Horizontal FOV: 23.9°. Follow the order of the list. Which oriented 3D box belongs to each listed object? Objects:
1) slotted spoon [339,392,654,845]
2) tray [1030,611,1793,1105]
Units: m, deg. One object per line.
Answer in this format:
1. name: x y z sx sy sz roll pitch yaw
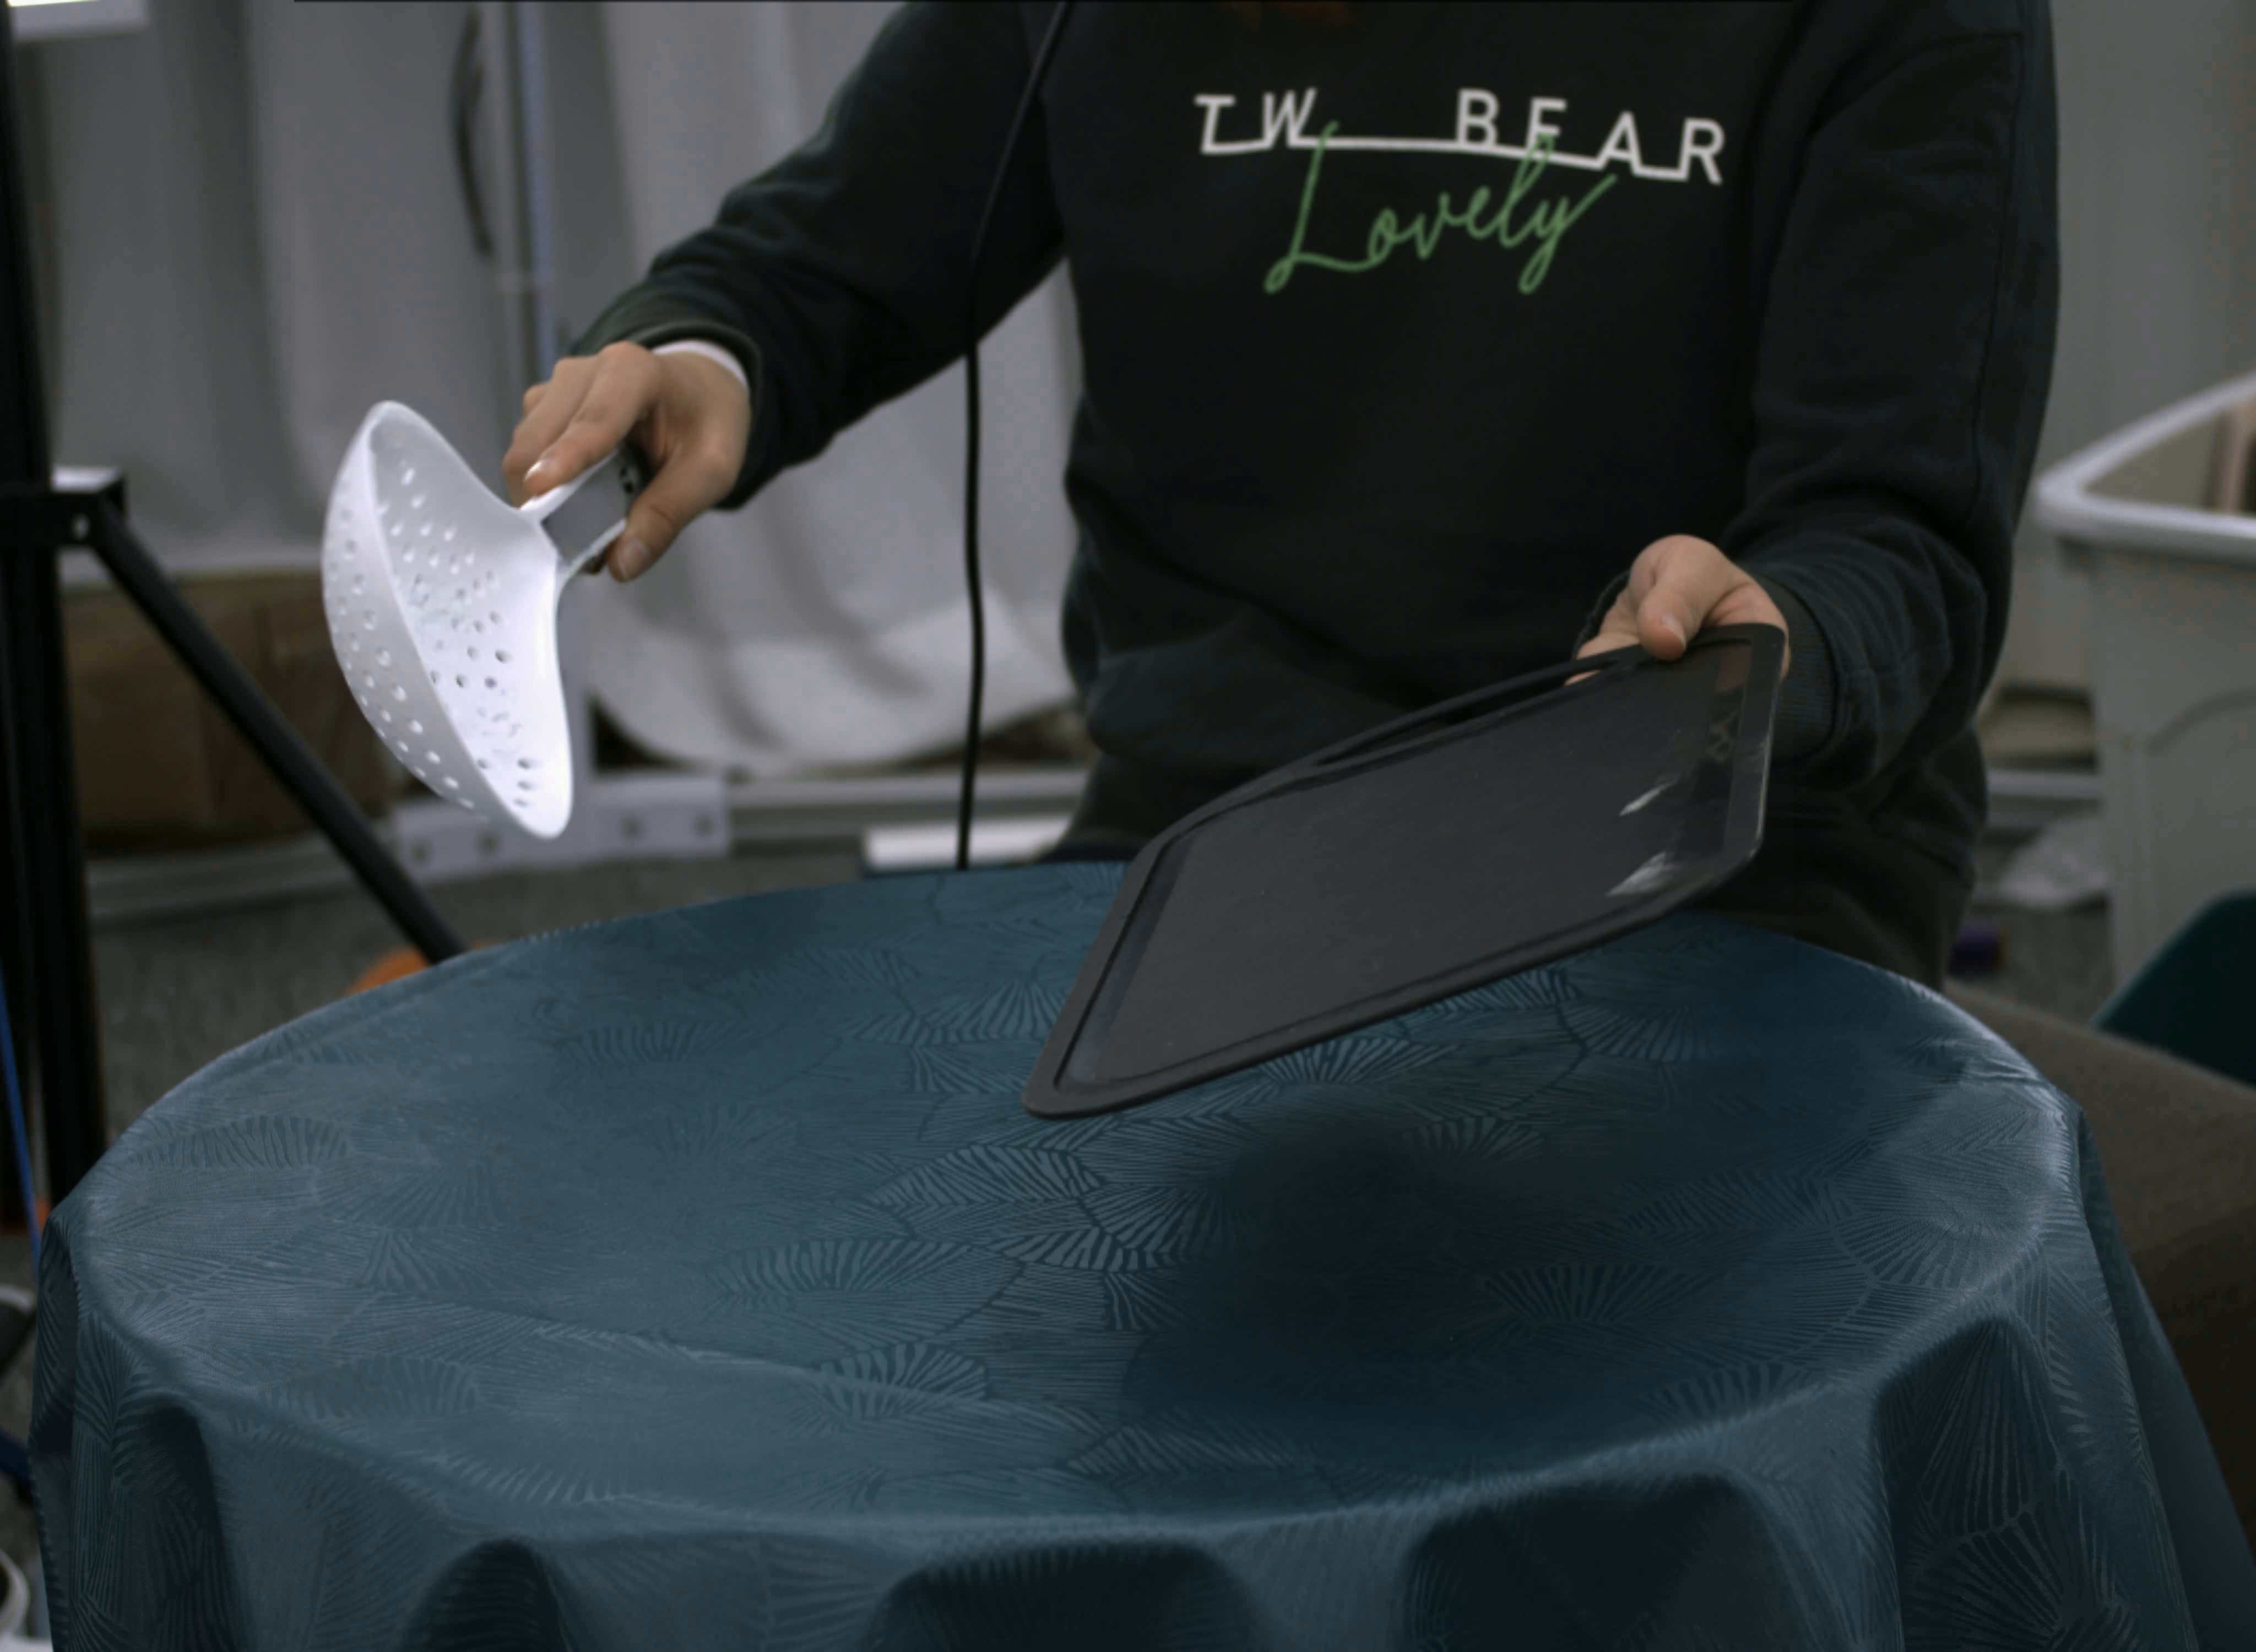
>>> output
1. slotted spoon: -0.186 -0.083 1.667 0.046 0.136 0.348 -14 11 13
2. tray: 0.085 0.002 1.493 0.212 0.010 0.324 -20 12 14
